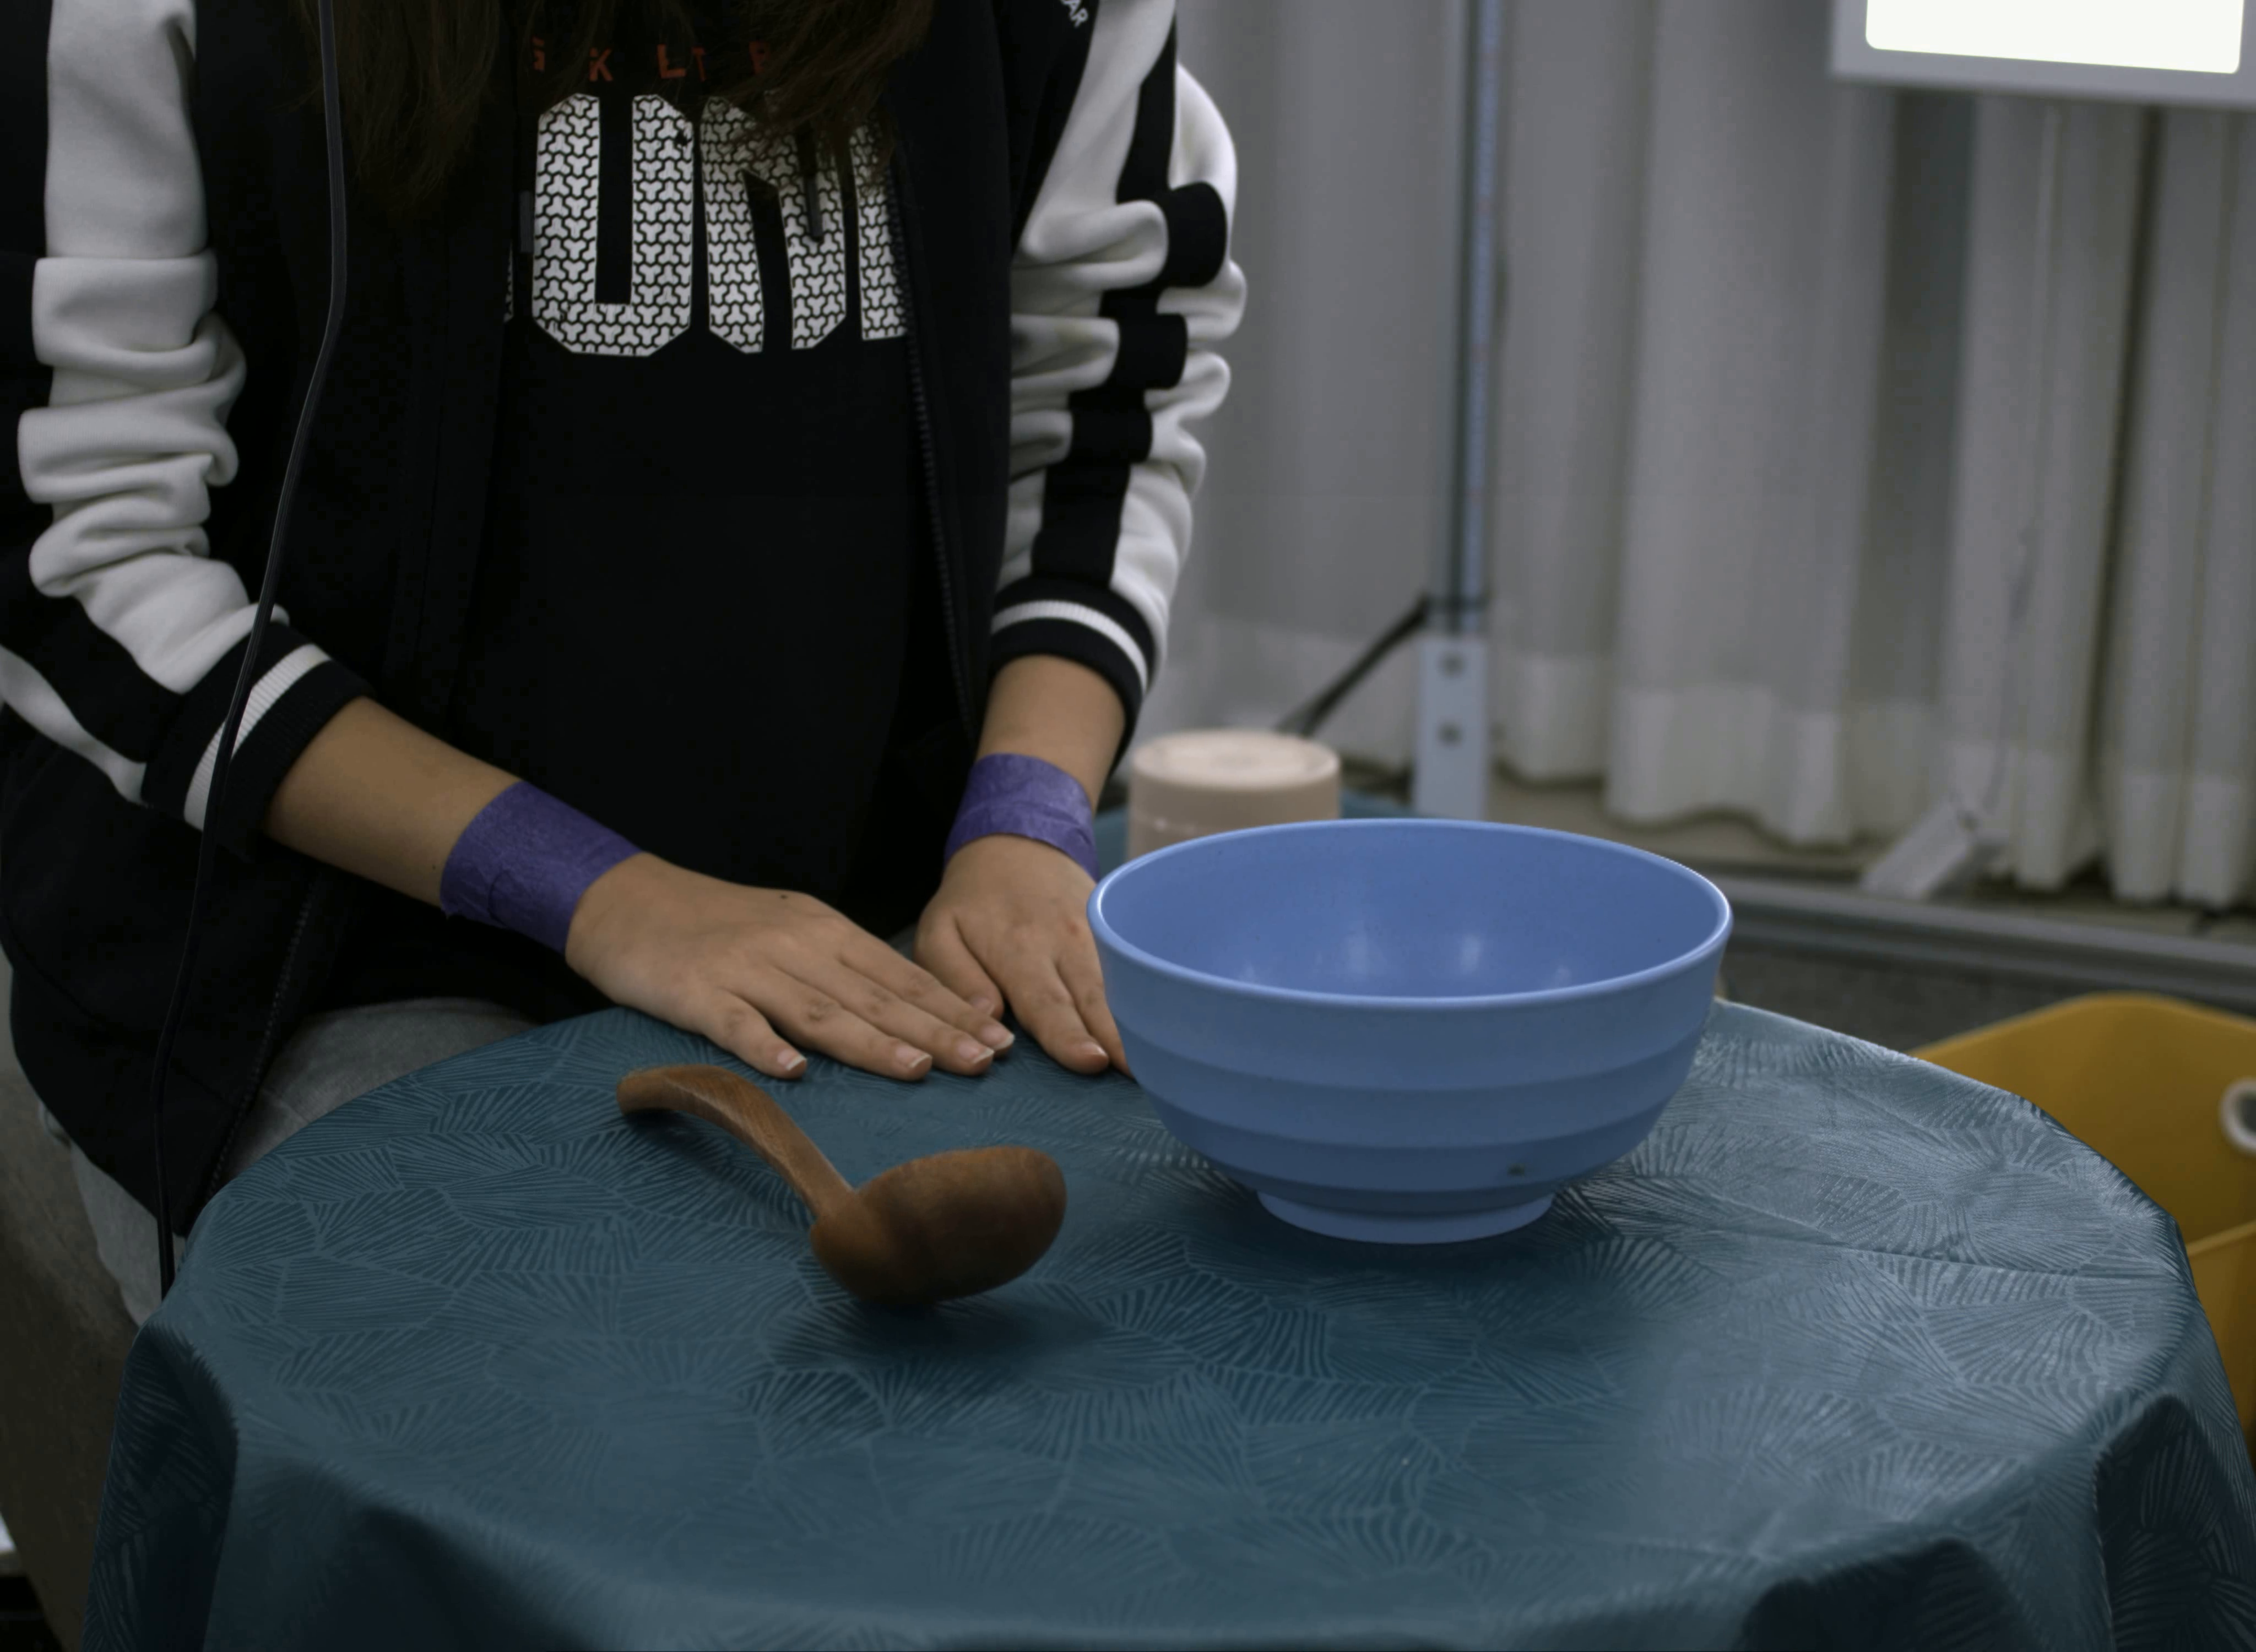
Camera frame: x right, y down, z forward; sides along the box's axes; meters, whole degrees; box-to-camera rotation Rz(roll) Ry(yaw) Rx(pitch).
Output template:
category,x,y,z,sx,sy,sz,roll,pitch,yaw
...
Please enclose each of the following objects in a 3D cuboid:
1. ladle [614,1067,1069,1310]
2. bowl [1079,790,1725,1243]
category,x,y,z,sx,sy,sz,roll,pitch,yaw
ladle,-0.097,0.091,1.577,0.077,0.065,0.257,-1,14,-28
bowl,0.085,0.066,1.615,0.196,0.096,0.195,-2,21,1
